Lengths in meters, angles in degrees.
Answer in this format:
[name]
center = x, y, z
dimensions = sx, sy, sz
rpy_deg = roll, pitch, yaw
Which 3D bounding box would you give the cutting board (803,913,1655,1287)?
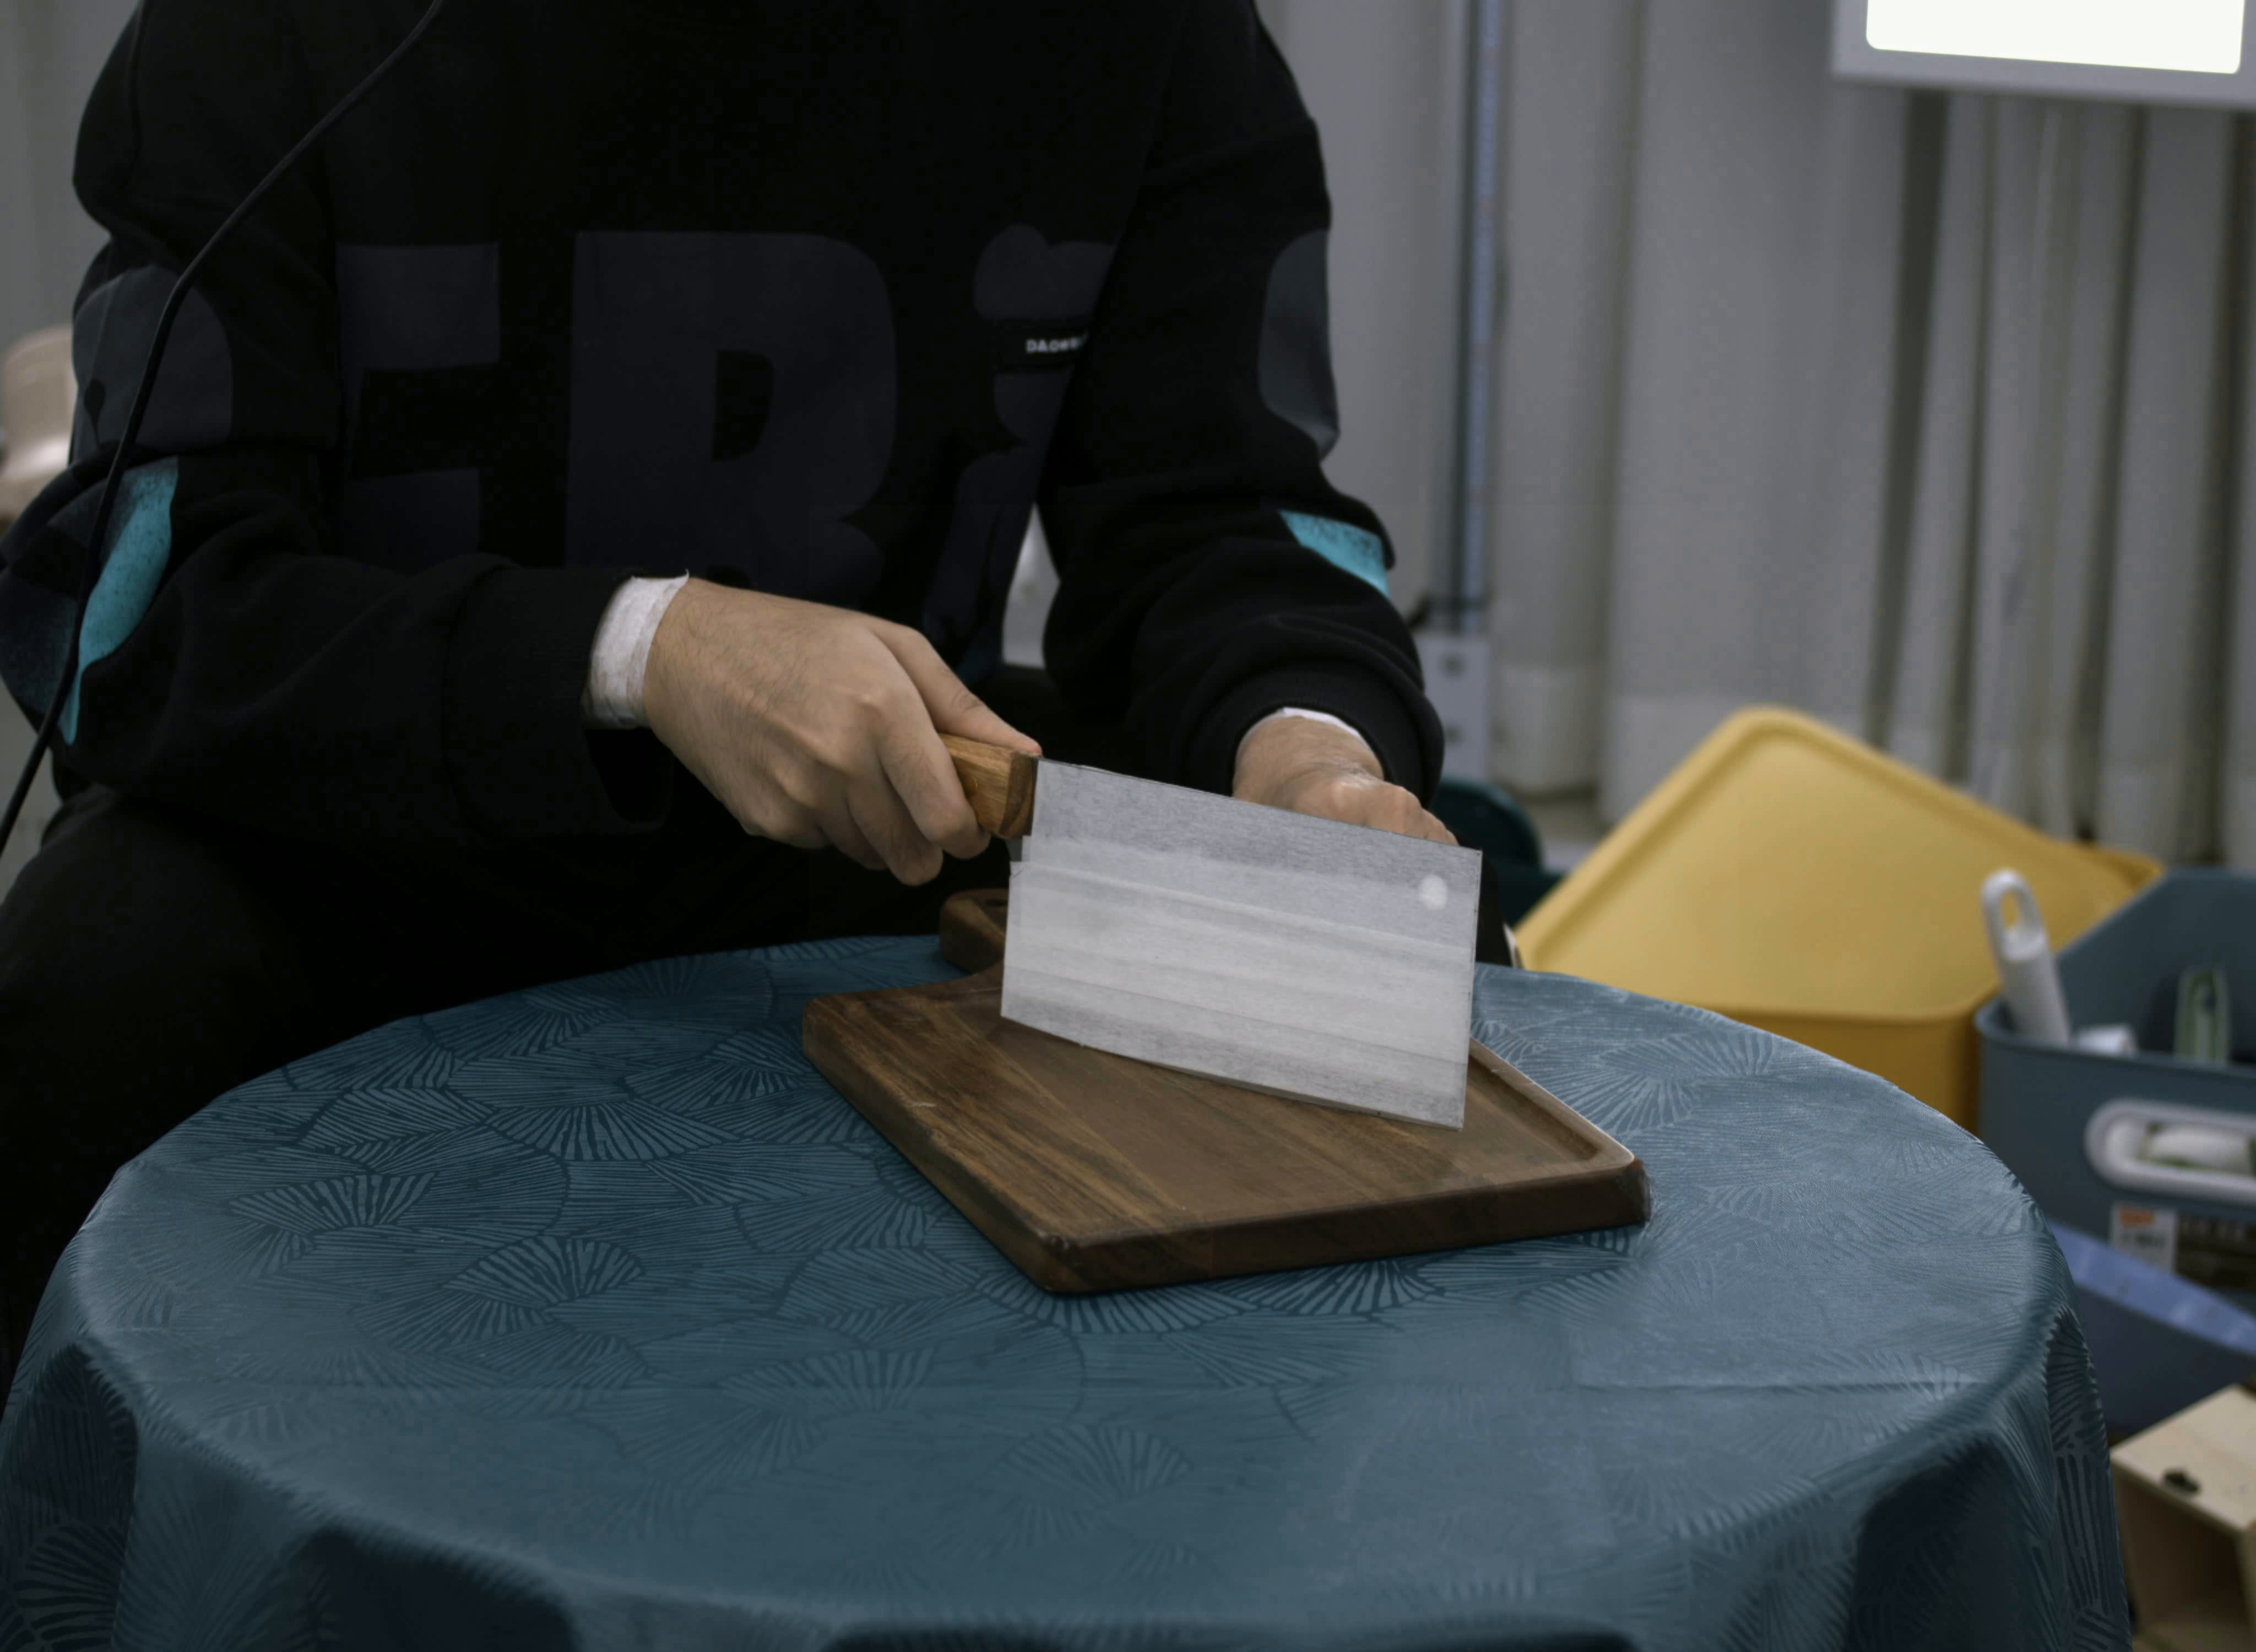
[cutting board]
center = 0.009, 0.079, 1.715
dimensions = 0.201, 0.023, 0.348
rpy_deg = -4, 14, -20

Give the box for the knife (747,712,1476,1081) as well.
[knife]
center = -0.011, 0.023, 1.699
dimensions = 0.302, 0.093, 0.021
rpy_deg = 12, 15, 38
